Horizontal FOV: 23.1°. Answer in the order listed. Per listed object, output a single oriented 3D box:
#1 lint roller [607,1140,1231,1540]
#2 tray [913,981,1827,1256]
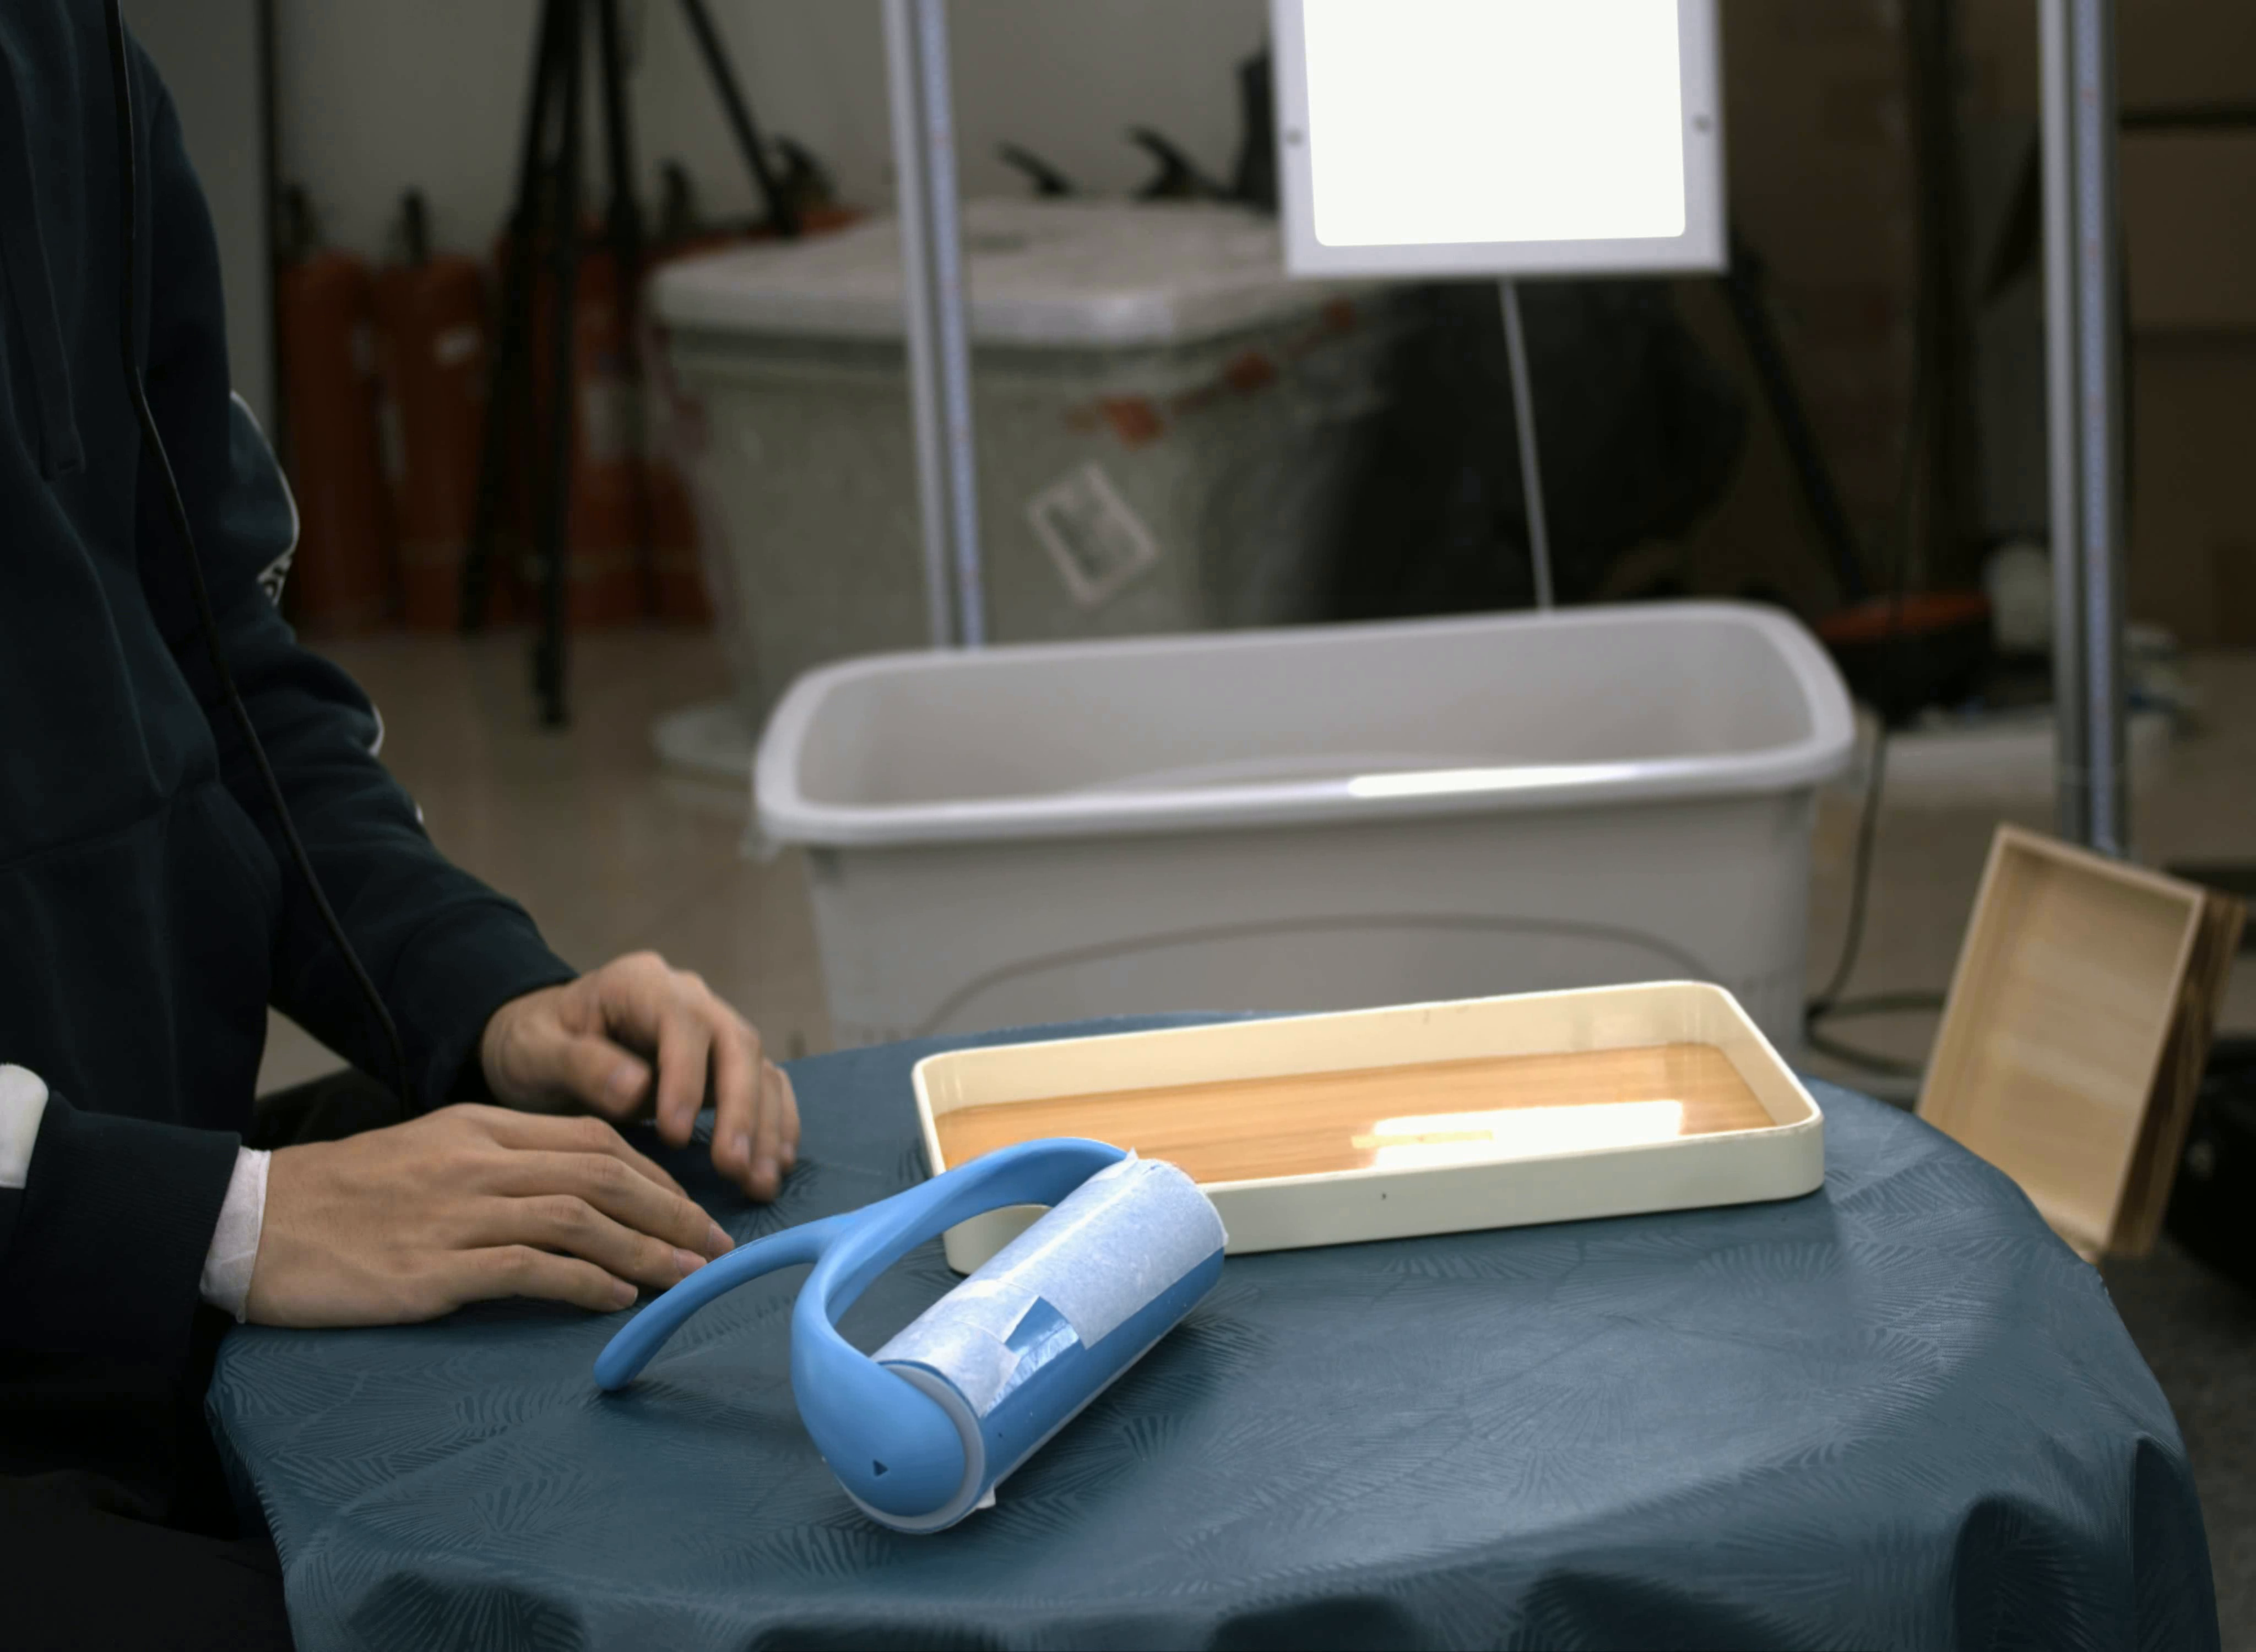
[{"bbox_3d":[-0.081,0.154,1.696,0.182,0.068,0.225,1,17,19],"label":"lint roller"},{"bbox_3d":[0.079,0.103,1.905,0.299,0.027,0.192,-6,14,-2],"label":"tray"}]
